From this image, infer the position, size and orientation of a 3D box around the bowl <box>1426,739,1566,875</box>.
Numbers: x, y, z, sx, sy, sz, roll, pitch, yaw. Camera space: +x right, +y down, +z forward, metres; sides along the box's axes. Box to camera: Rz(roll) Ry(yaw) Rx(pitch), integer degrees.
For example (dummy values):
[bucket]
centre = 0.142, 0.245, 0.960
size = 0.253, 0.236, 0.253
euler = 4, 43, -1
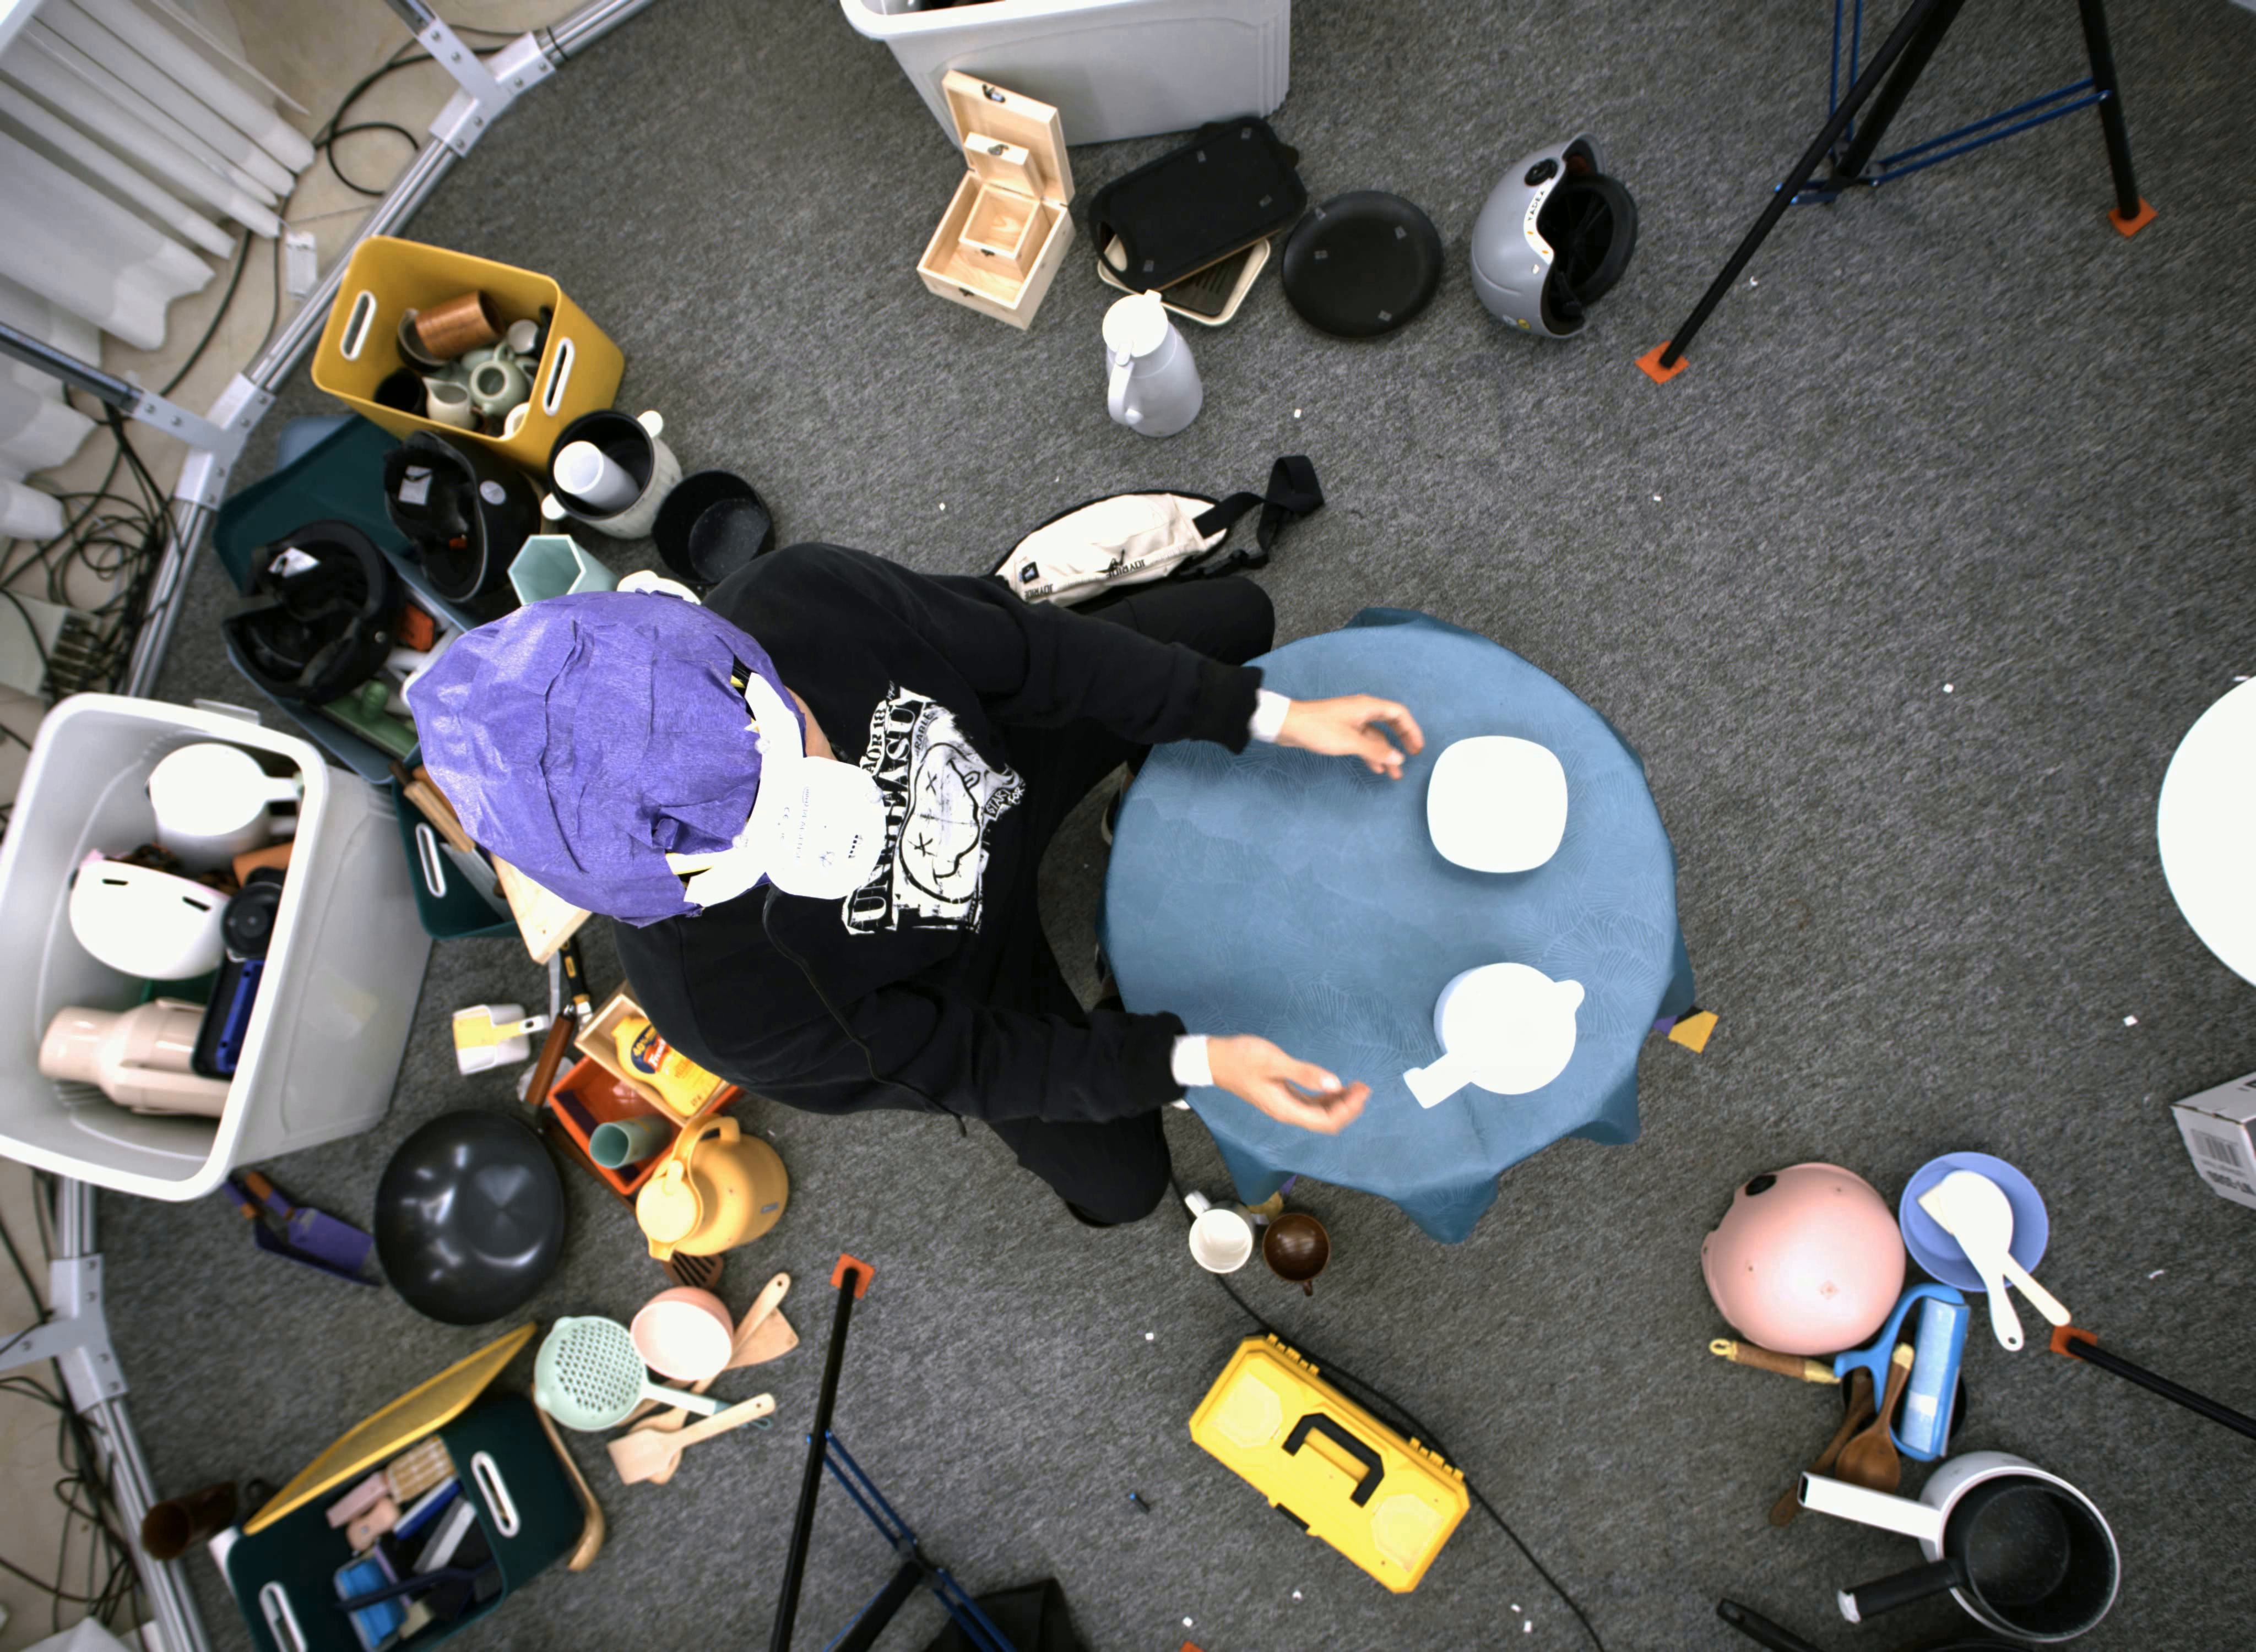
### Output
[bowl]
centre = 0.377, -0.019, 1.418
size = 0.152, 0.058, 0.151
euler = -1, 86, 11

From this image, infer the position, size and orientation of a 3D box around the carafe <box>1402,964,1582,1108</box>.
[carafe]
centre = 0.339, 0.199, 1.307
size = 0.174, 0.269, 0.123
euler = -36, 82, 6
